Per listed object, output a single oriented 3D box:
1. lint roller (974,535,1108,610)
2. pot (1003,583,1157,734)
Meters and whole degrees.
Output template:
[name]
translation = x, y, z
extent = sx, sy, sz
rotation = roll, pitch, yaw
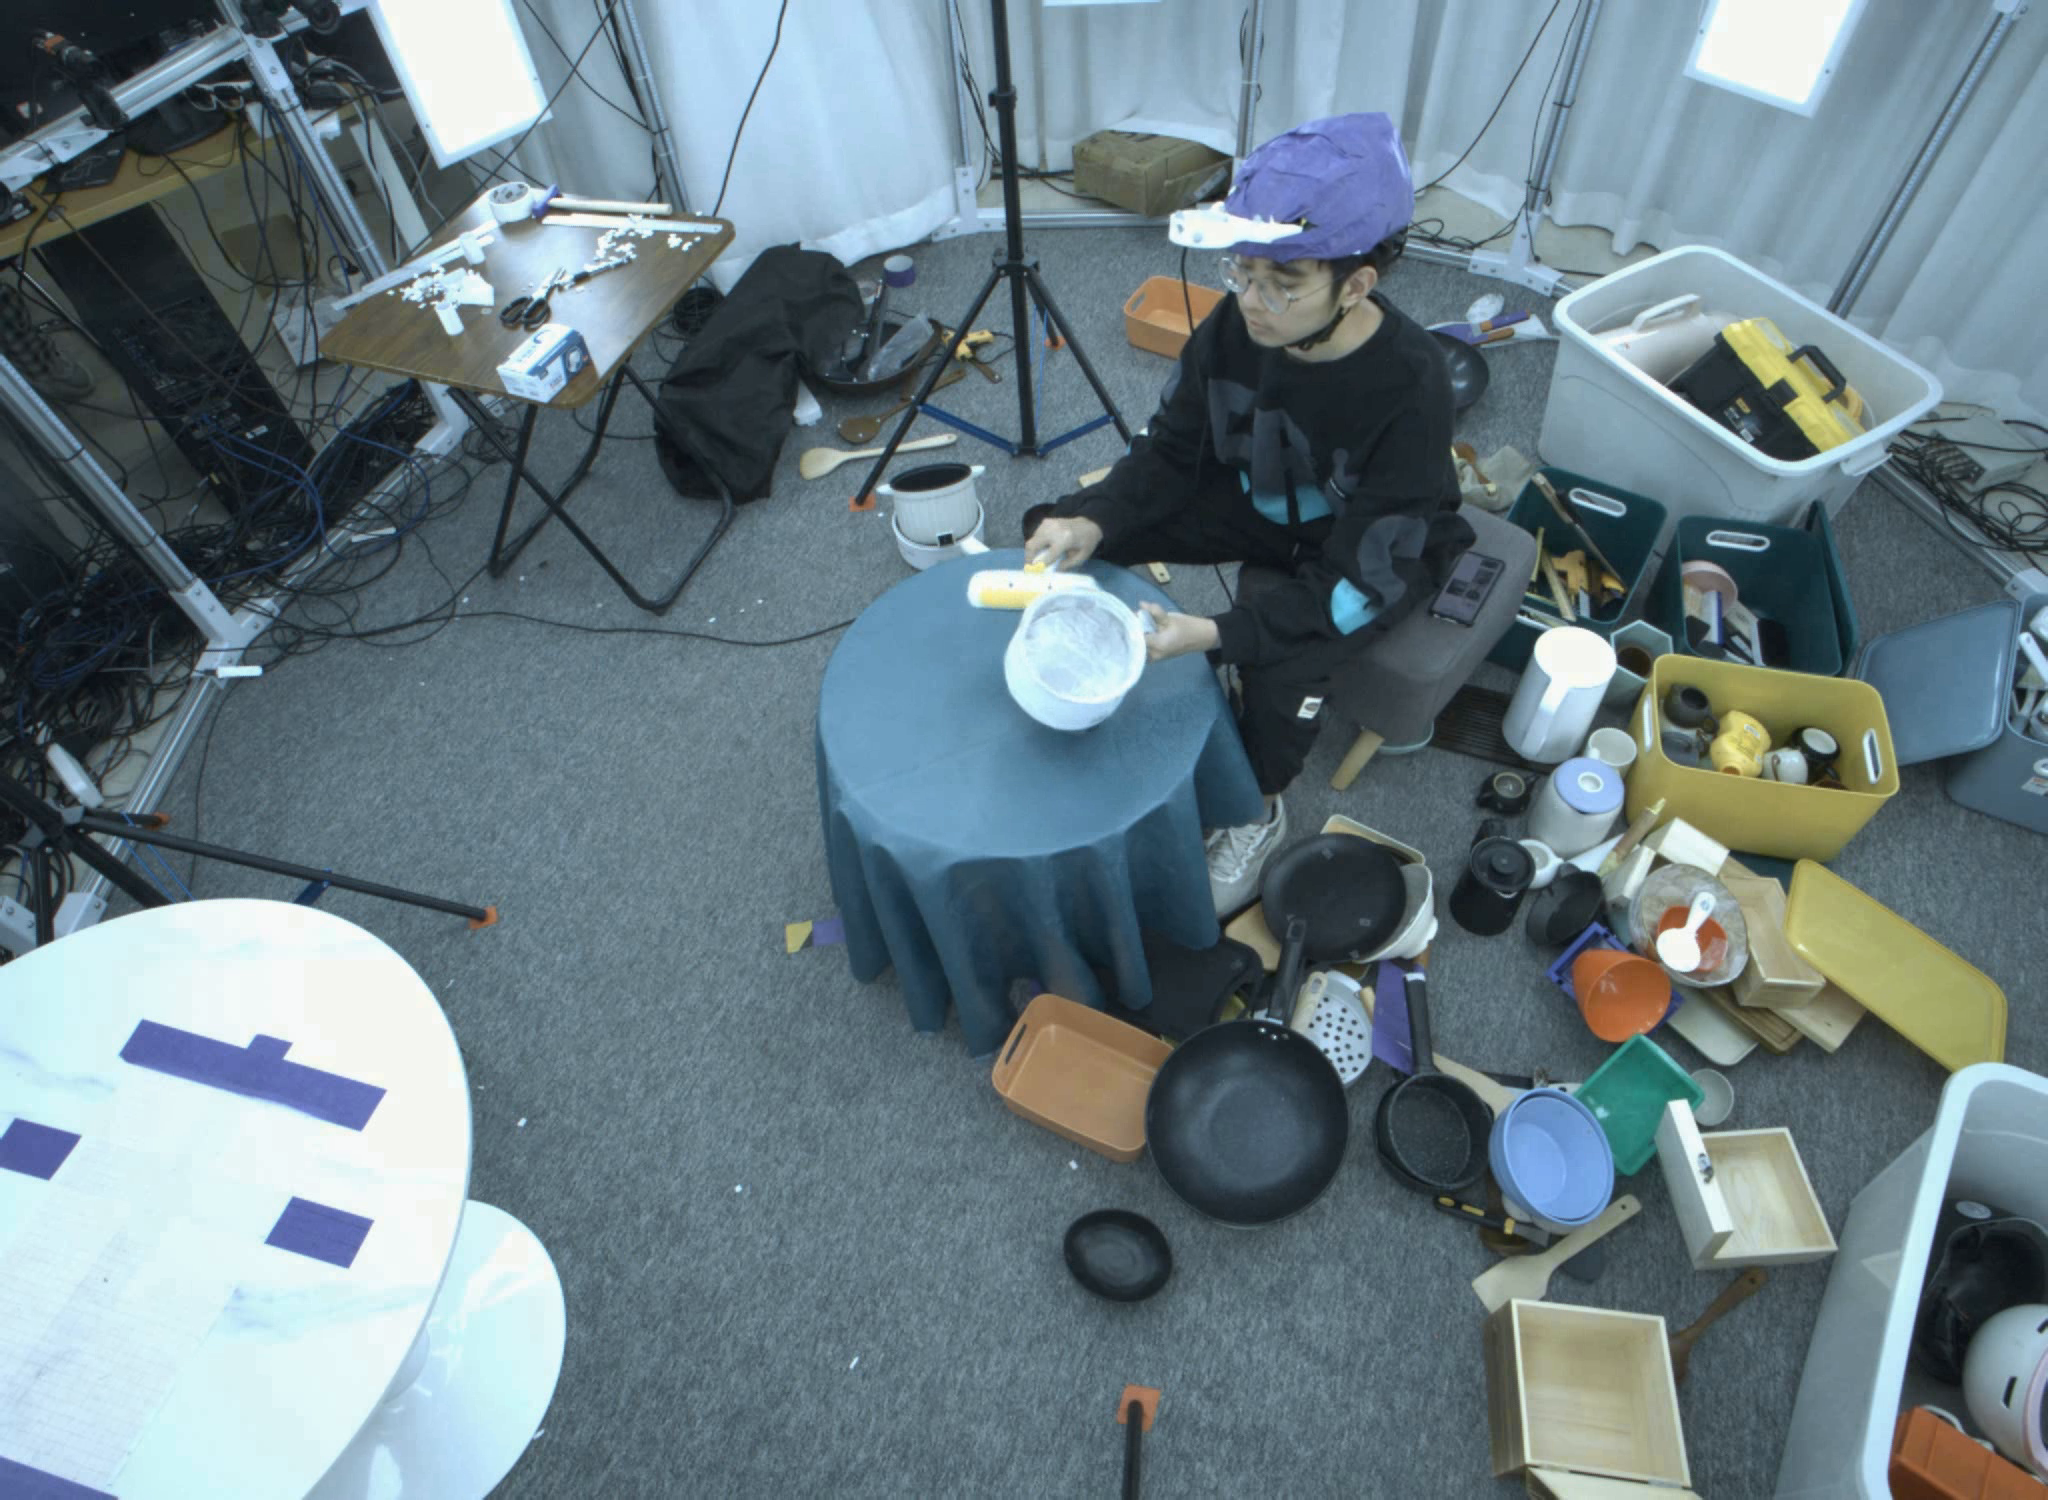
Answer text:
[lint roller]
translation = 0.031, -0.265, 1.826
extent = 0.191, 0.075, 0.192
rotation = -2, 27, 10
[pot]
translation = 0.087, -0.135, 1.715
extent = 0.236, 0.136, 0.177
rotation = -27, 80, -20
